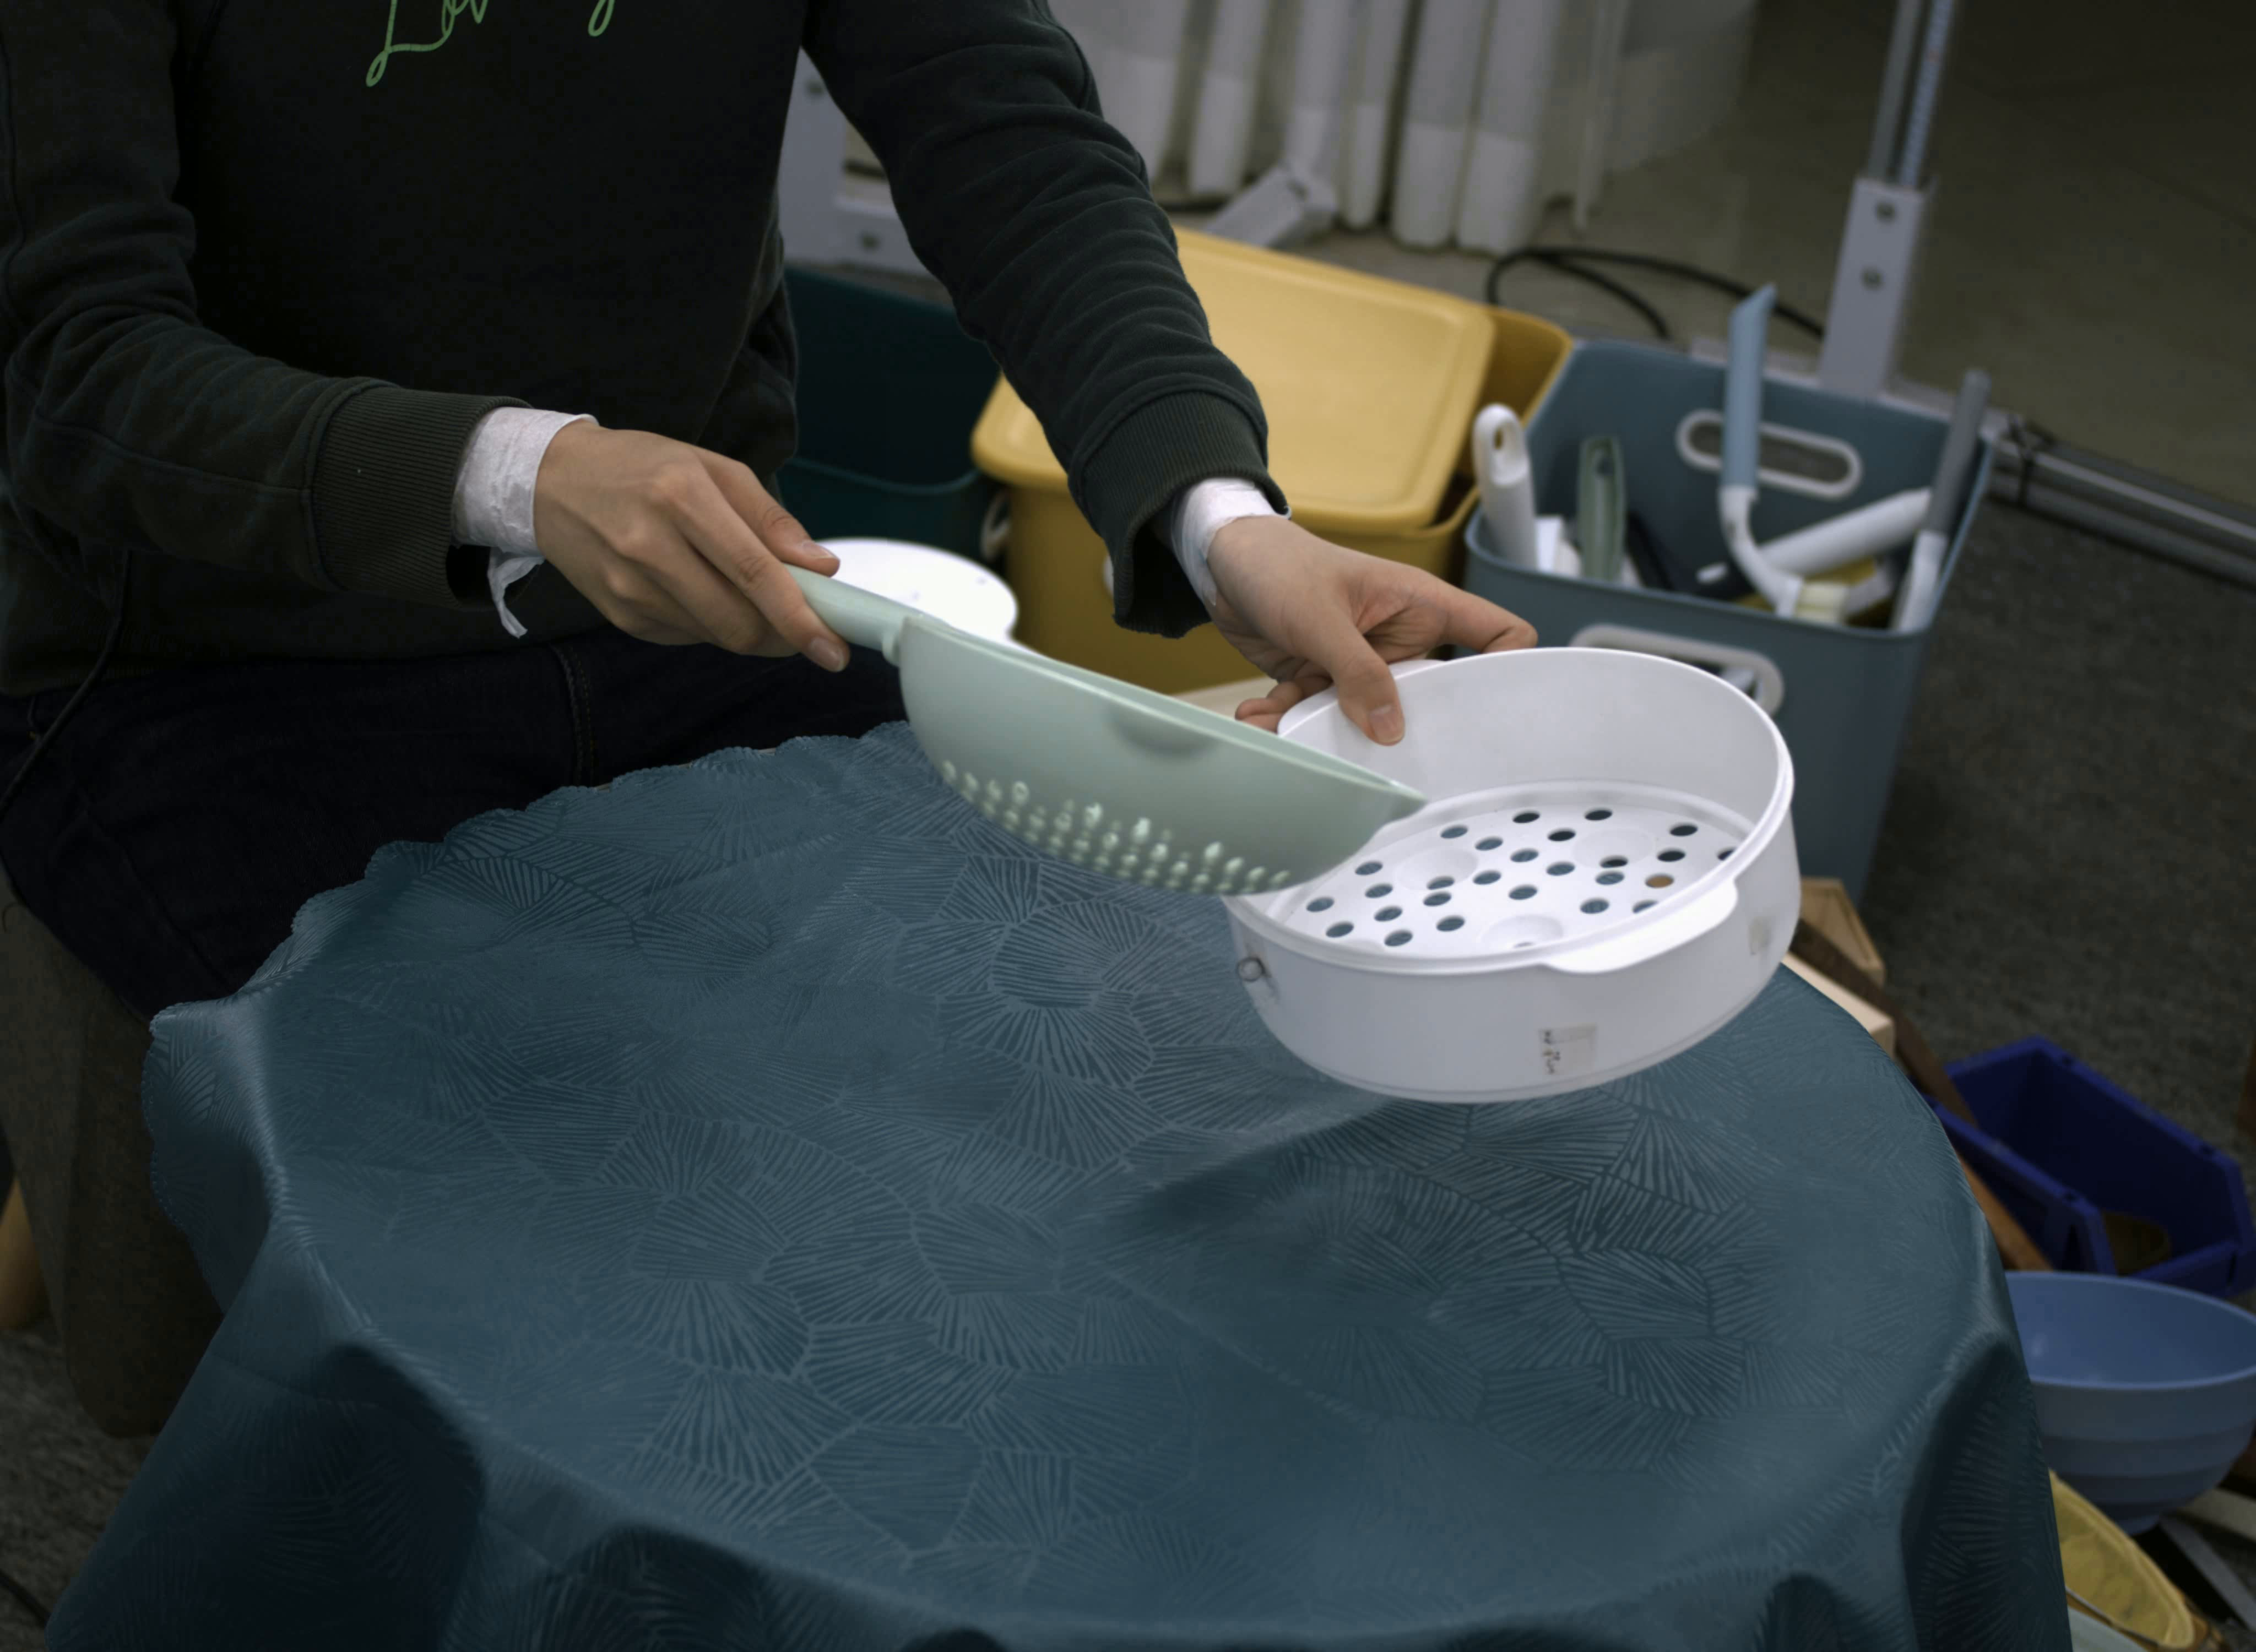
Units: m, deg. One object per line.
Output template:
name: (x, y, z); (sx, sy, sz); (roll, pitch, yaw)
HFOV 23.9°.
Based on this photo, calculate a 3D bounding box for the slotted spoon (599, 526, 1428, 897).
slotted spoon: (-0.061, -0.053, 1.764); (0.168, 0.075, 0.362); (19, 10, -45)

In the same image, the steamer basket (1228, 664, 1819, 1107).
steamer basket: (0.134, 0.021, 1.799); (0.201, 0.069, 0.232); (-21, 31, -20)
